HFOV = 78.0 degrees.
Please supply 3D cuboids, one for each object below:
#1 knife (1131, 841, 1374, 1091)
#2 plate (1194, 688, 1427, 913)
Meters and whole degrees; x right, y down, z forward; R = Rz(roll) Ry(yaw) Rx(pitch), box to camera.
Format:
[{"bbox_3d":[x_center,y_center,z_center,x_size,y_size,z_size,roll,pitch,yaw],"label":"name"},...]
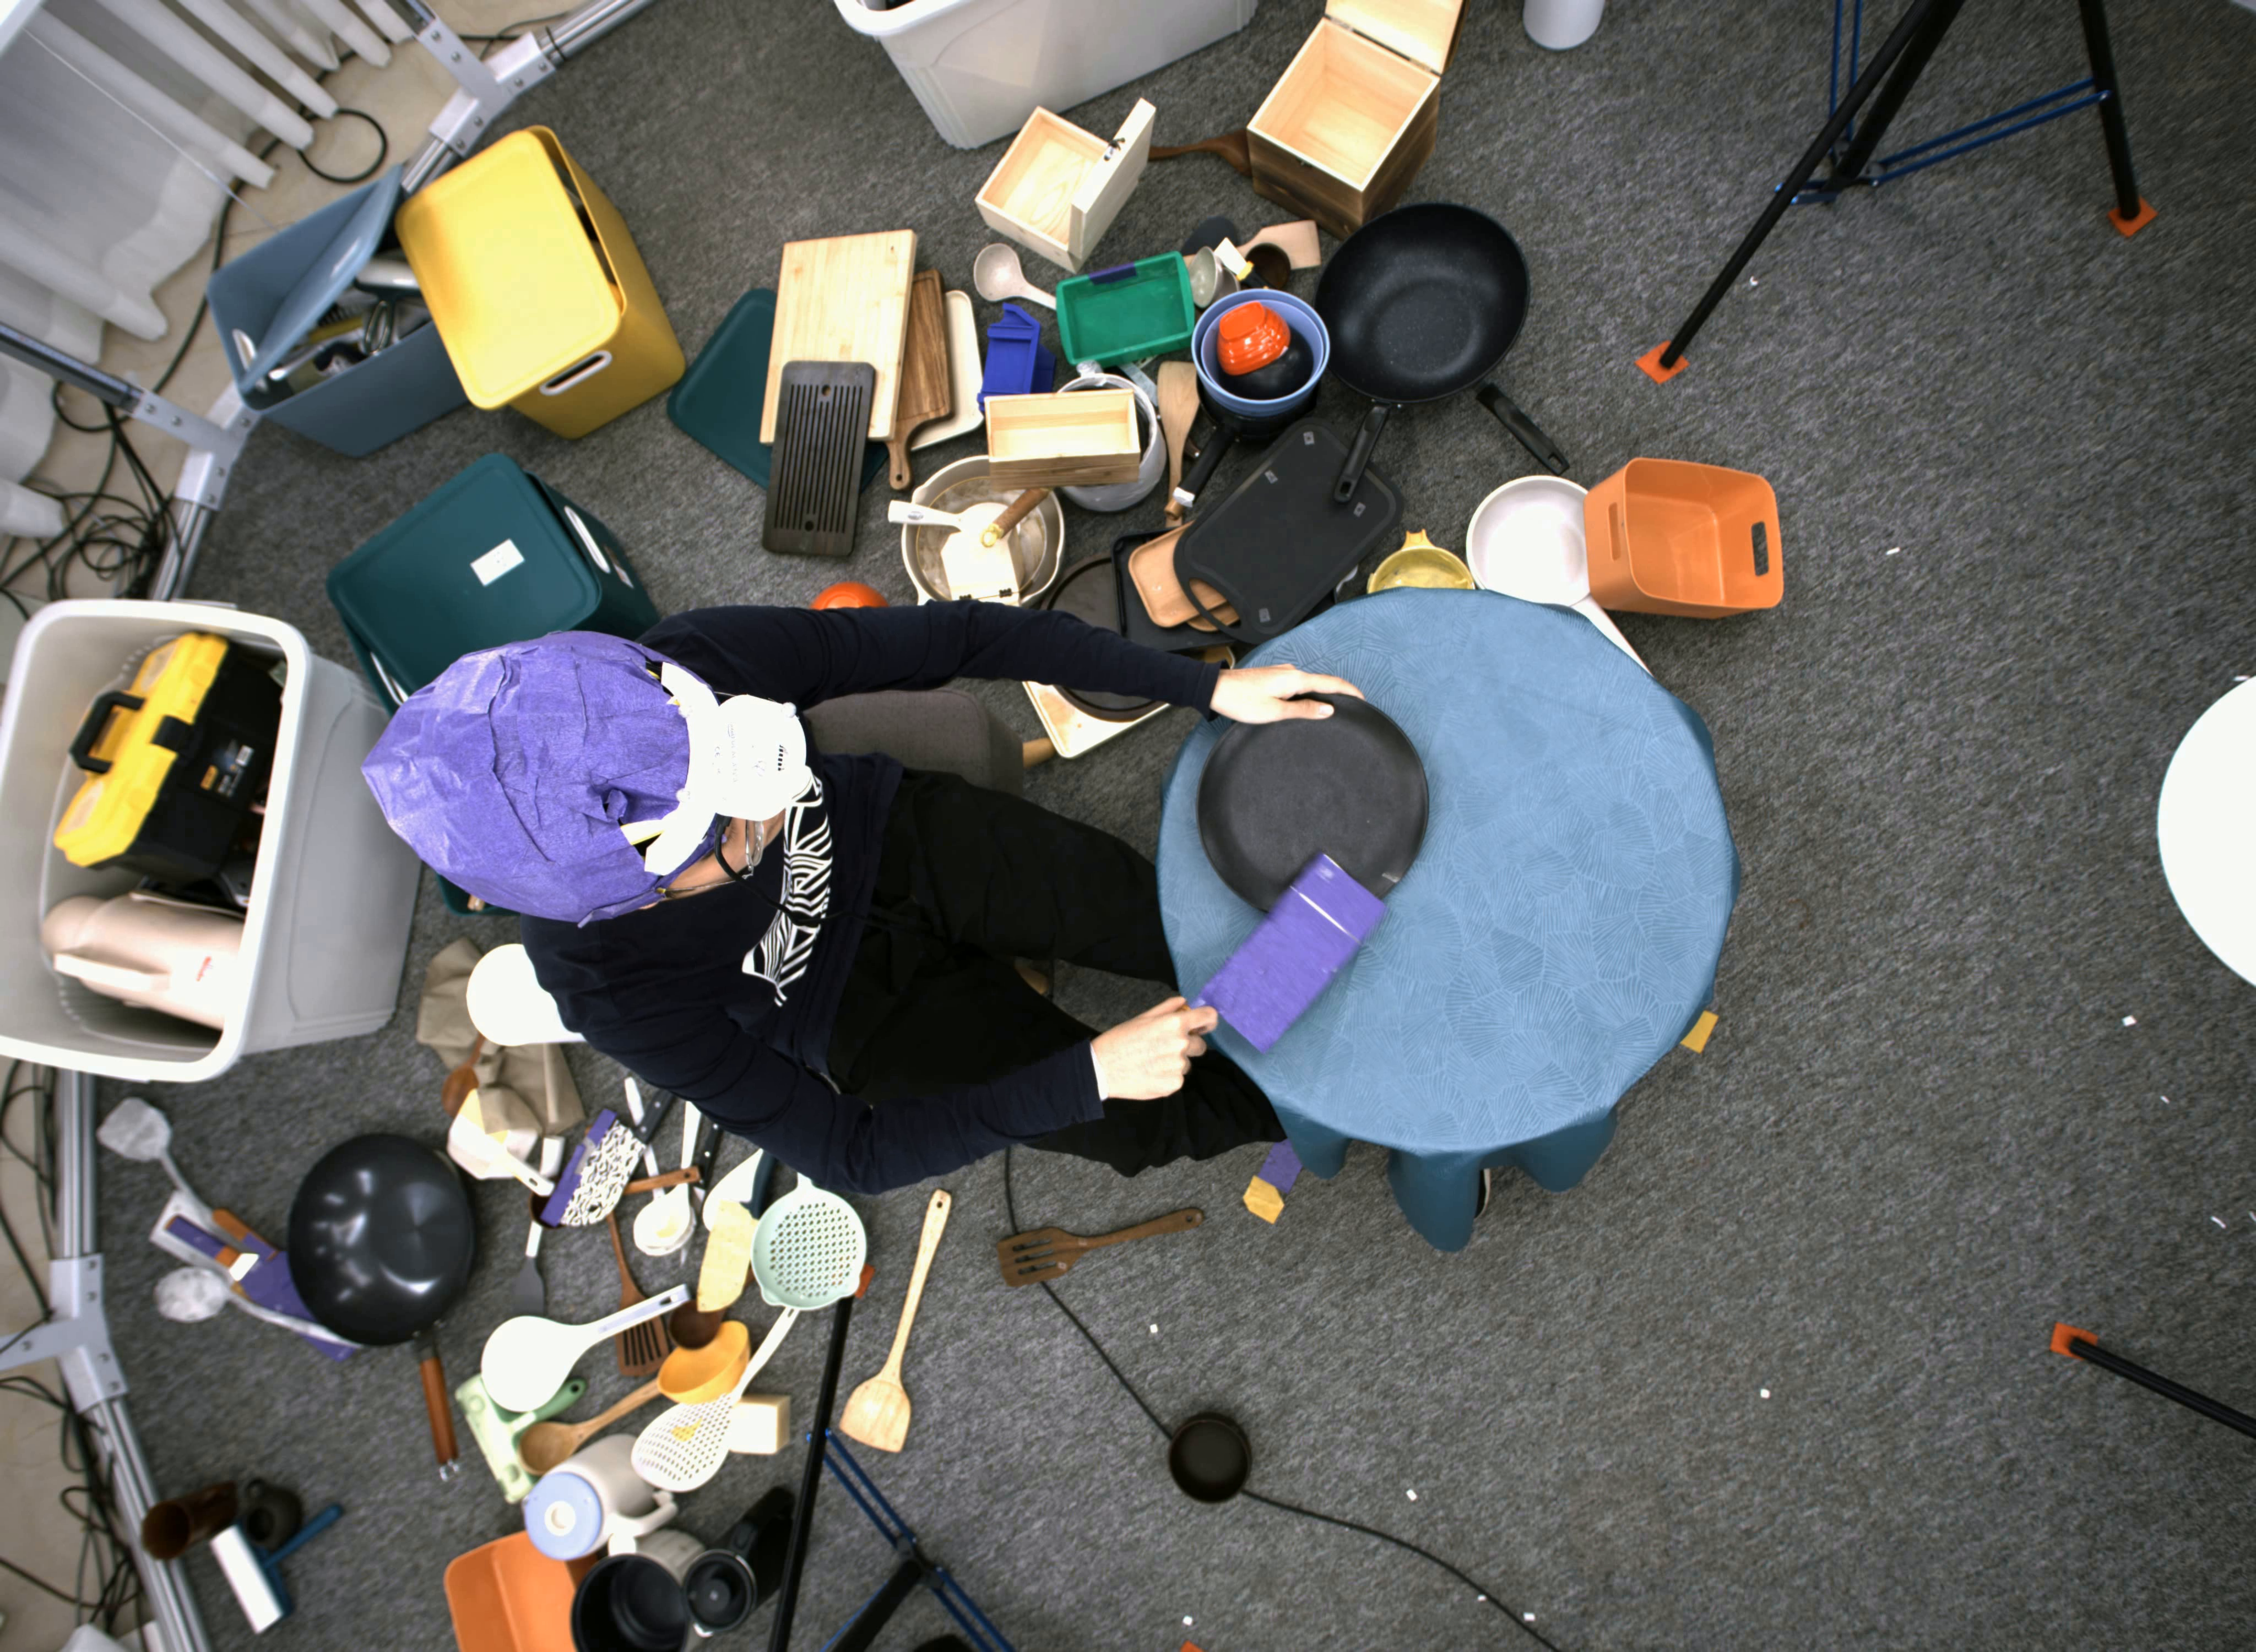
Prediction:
[{"bbox_3d":[0.134,0.158,1.408,0.103,0.032,0.312,40,78,5],"label":"knife"},{"bbox_3d":[0.189,-0.023,1.443,0.245,0.023,0.246,0,101,1],"label":"plate"}]
